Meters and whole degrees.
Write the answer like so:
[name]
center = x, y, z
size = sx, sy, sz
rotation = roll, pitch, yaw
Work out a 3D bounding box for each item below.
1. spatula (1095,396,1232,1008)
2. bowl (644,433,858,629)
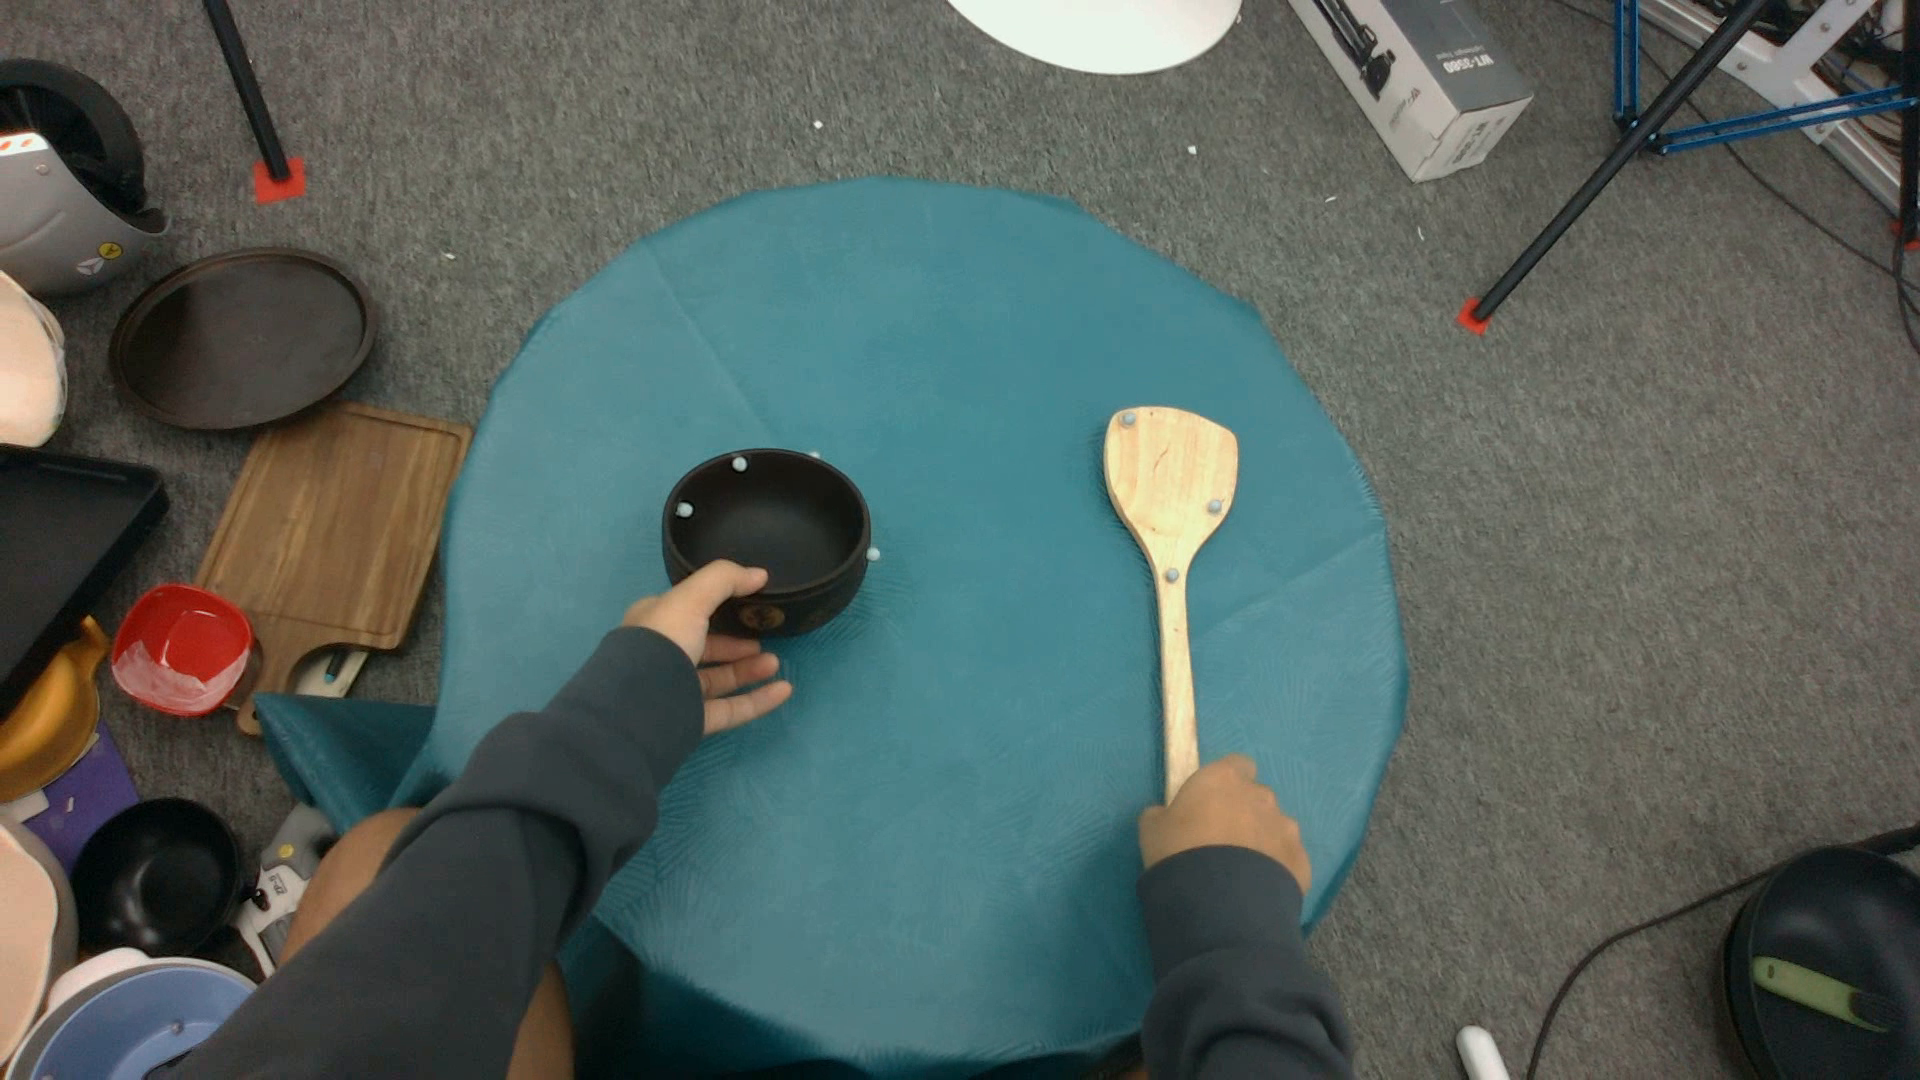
[spatula]
center = 0.133, 0.081, 0.842
size = 0.096, 0.018, 0.392
rotation = 7, 62, -12
[bowl]
center = -0.118, 0.002, 0.784
size = 0.118, 0.069, 0.118
rotation = 3, 47, -3
